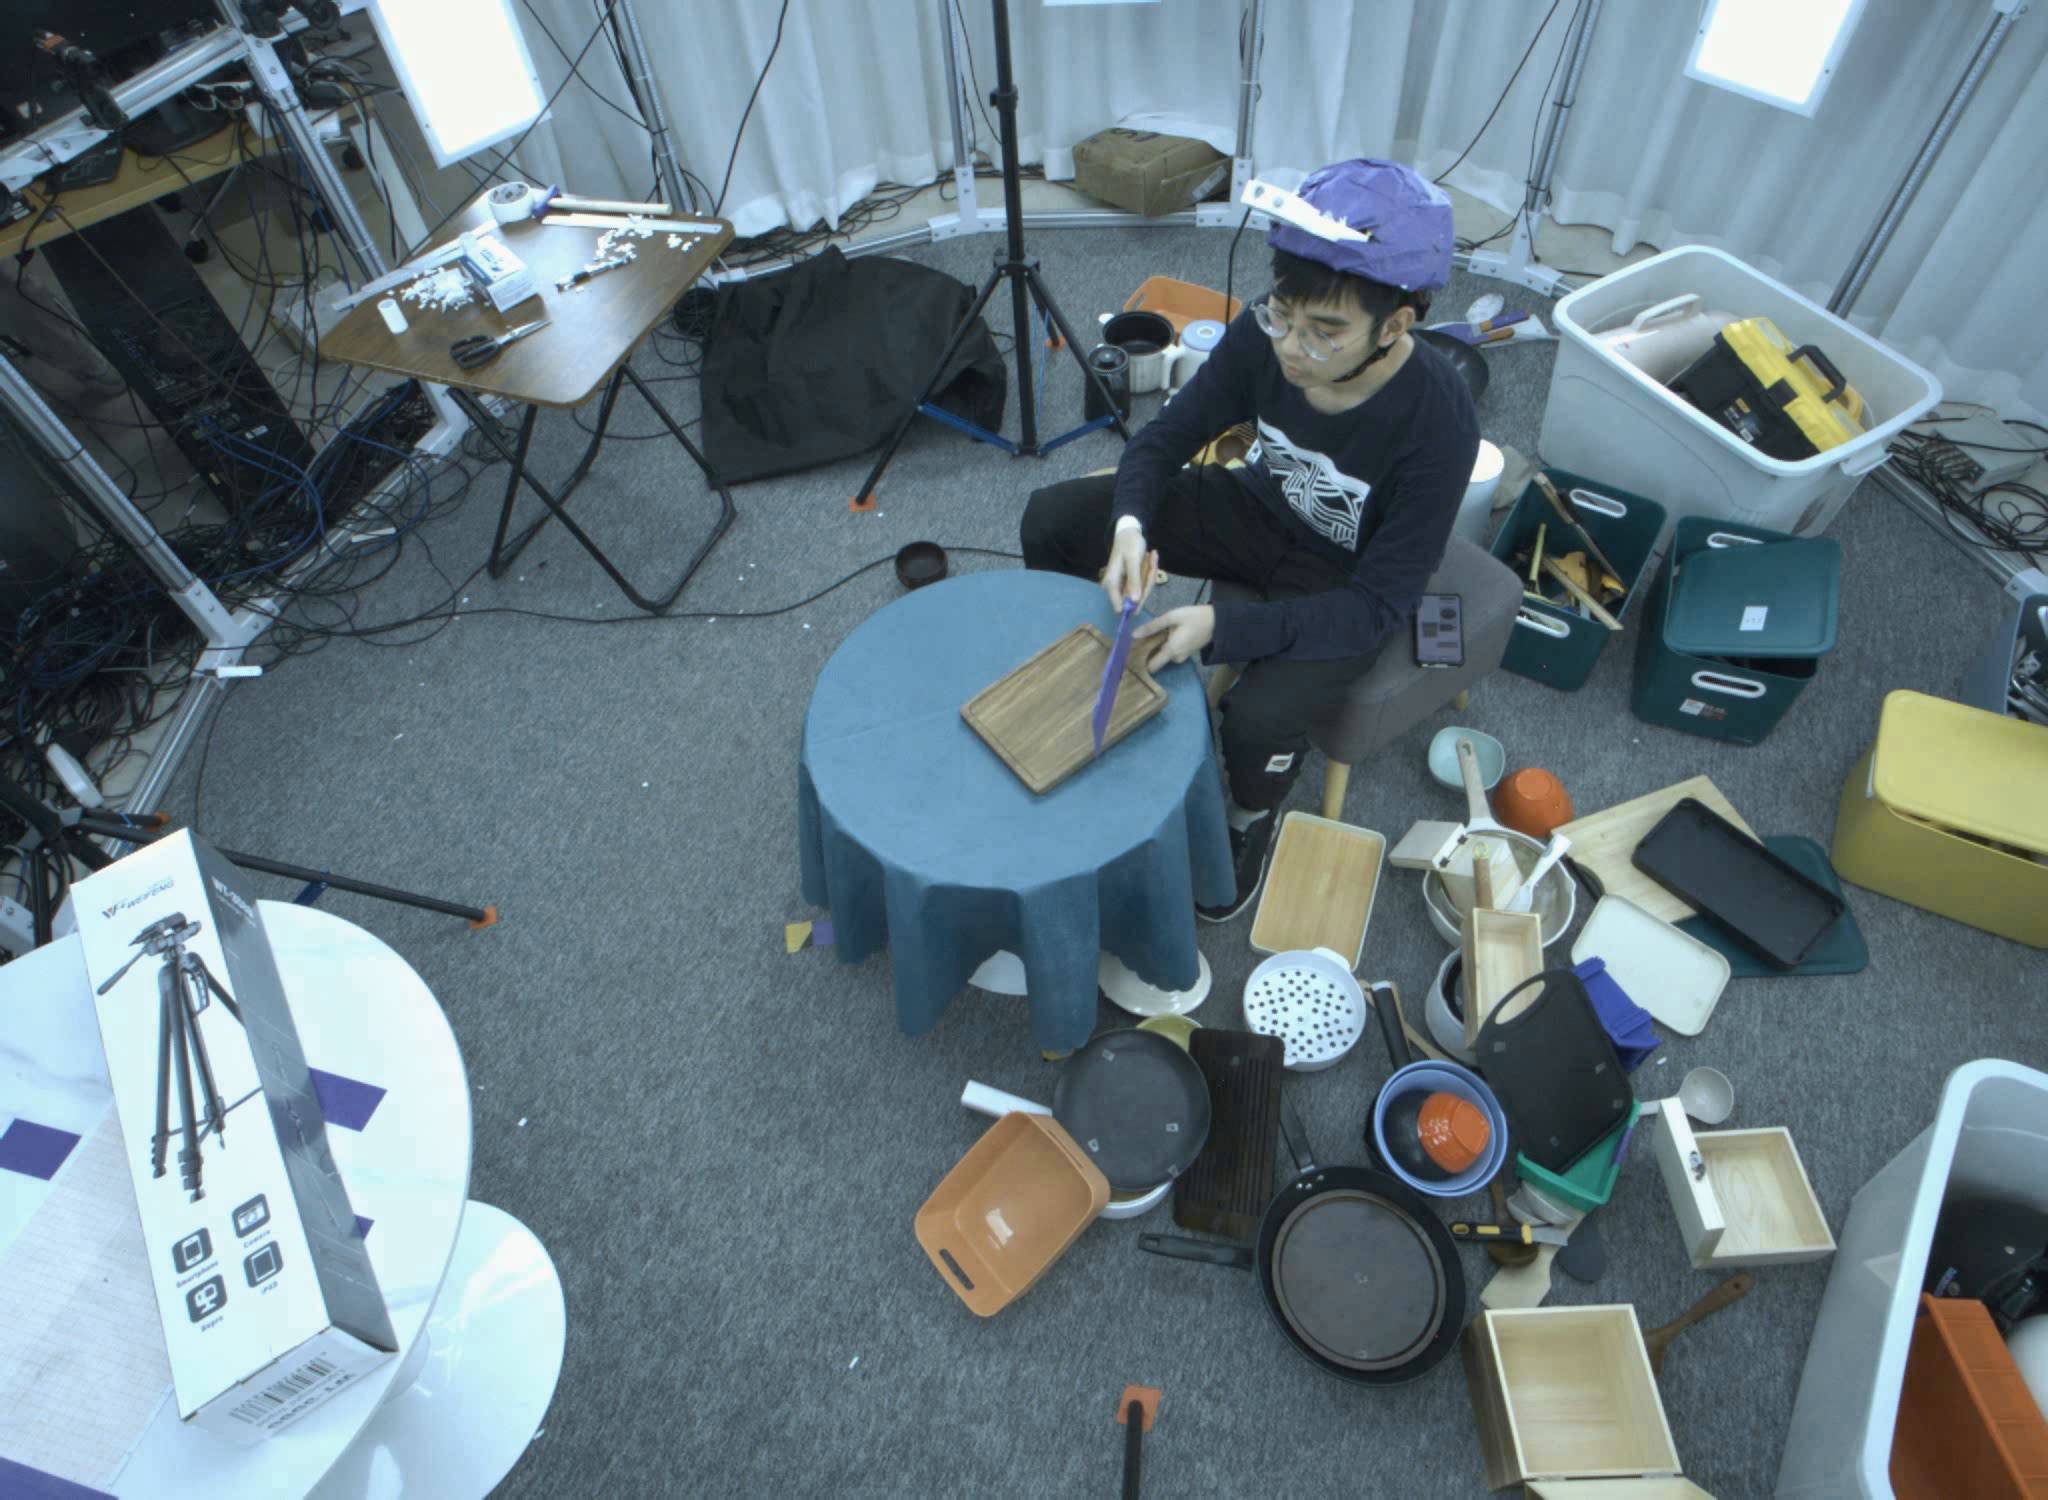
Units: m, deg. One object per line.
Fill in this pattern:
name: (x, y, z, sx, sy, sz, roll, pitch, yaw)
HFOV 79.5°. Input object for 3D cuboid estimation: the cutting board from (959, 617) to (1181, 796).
cutting board: (0.097, -0.093, 1.829, 0.354, 0.023, 0.197, -35, 60, -16)

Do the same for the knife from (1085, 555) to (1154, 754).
knife: (0.136, -0.140, 1.783, 0.032, 0.105, 0.314, 13, 59, 14)
